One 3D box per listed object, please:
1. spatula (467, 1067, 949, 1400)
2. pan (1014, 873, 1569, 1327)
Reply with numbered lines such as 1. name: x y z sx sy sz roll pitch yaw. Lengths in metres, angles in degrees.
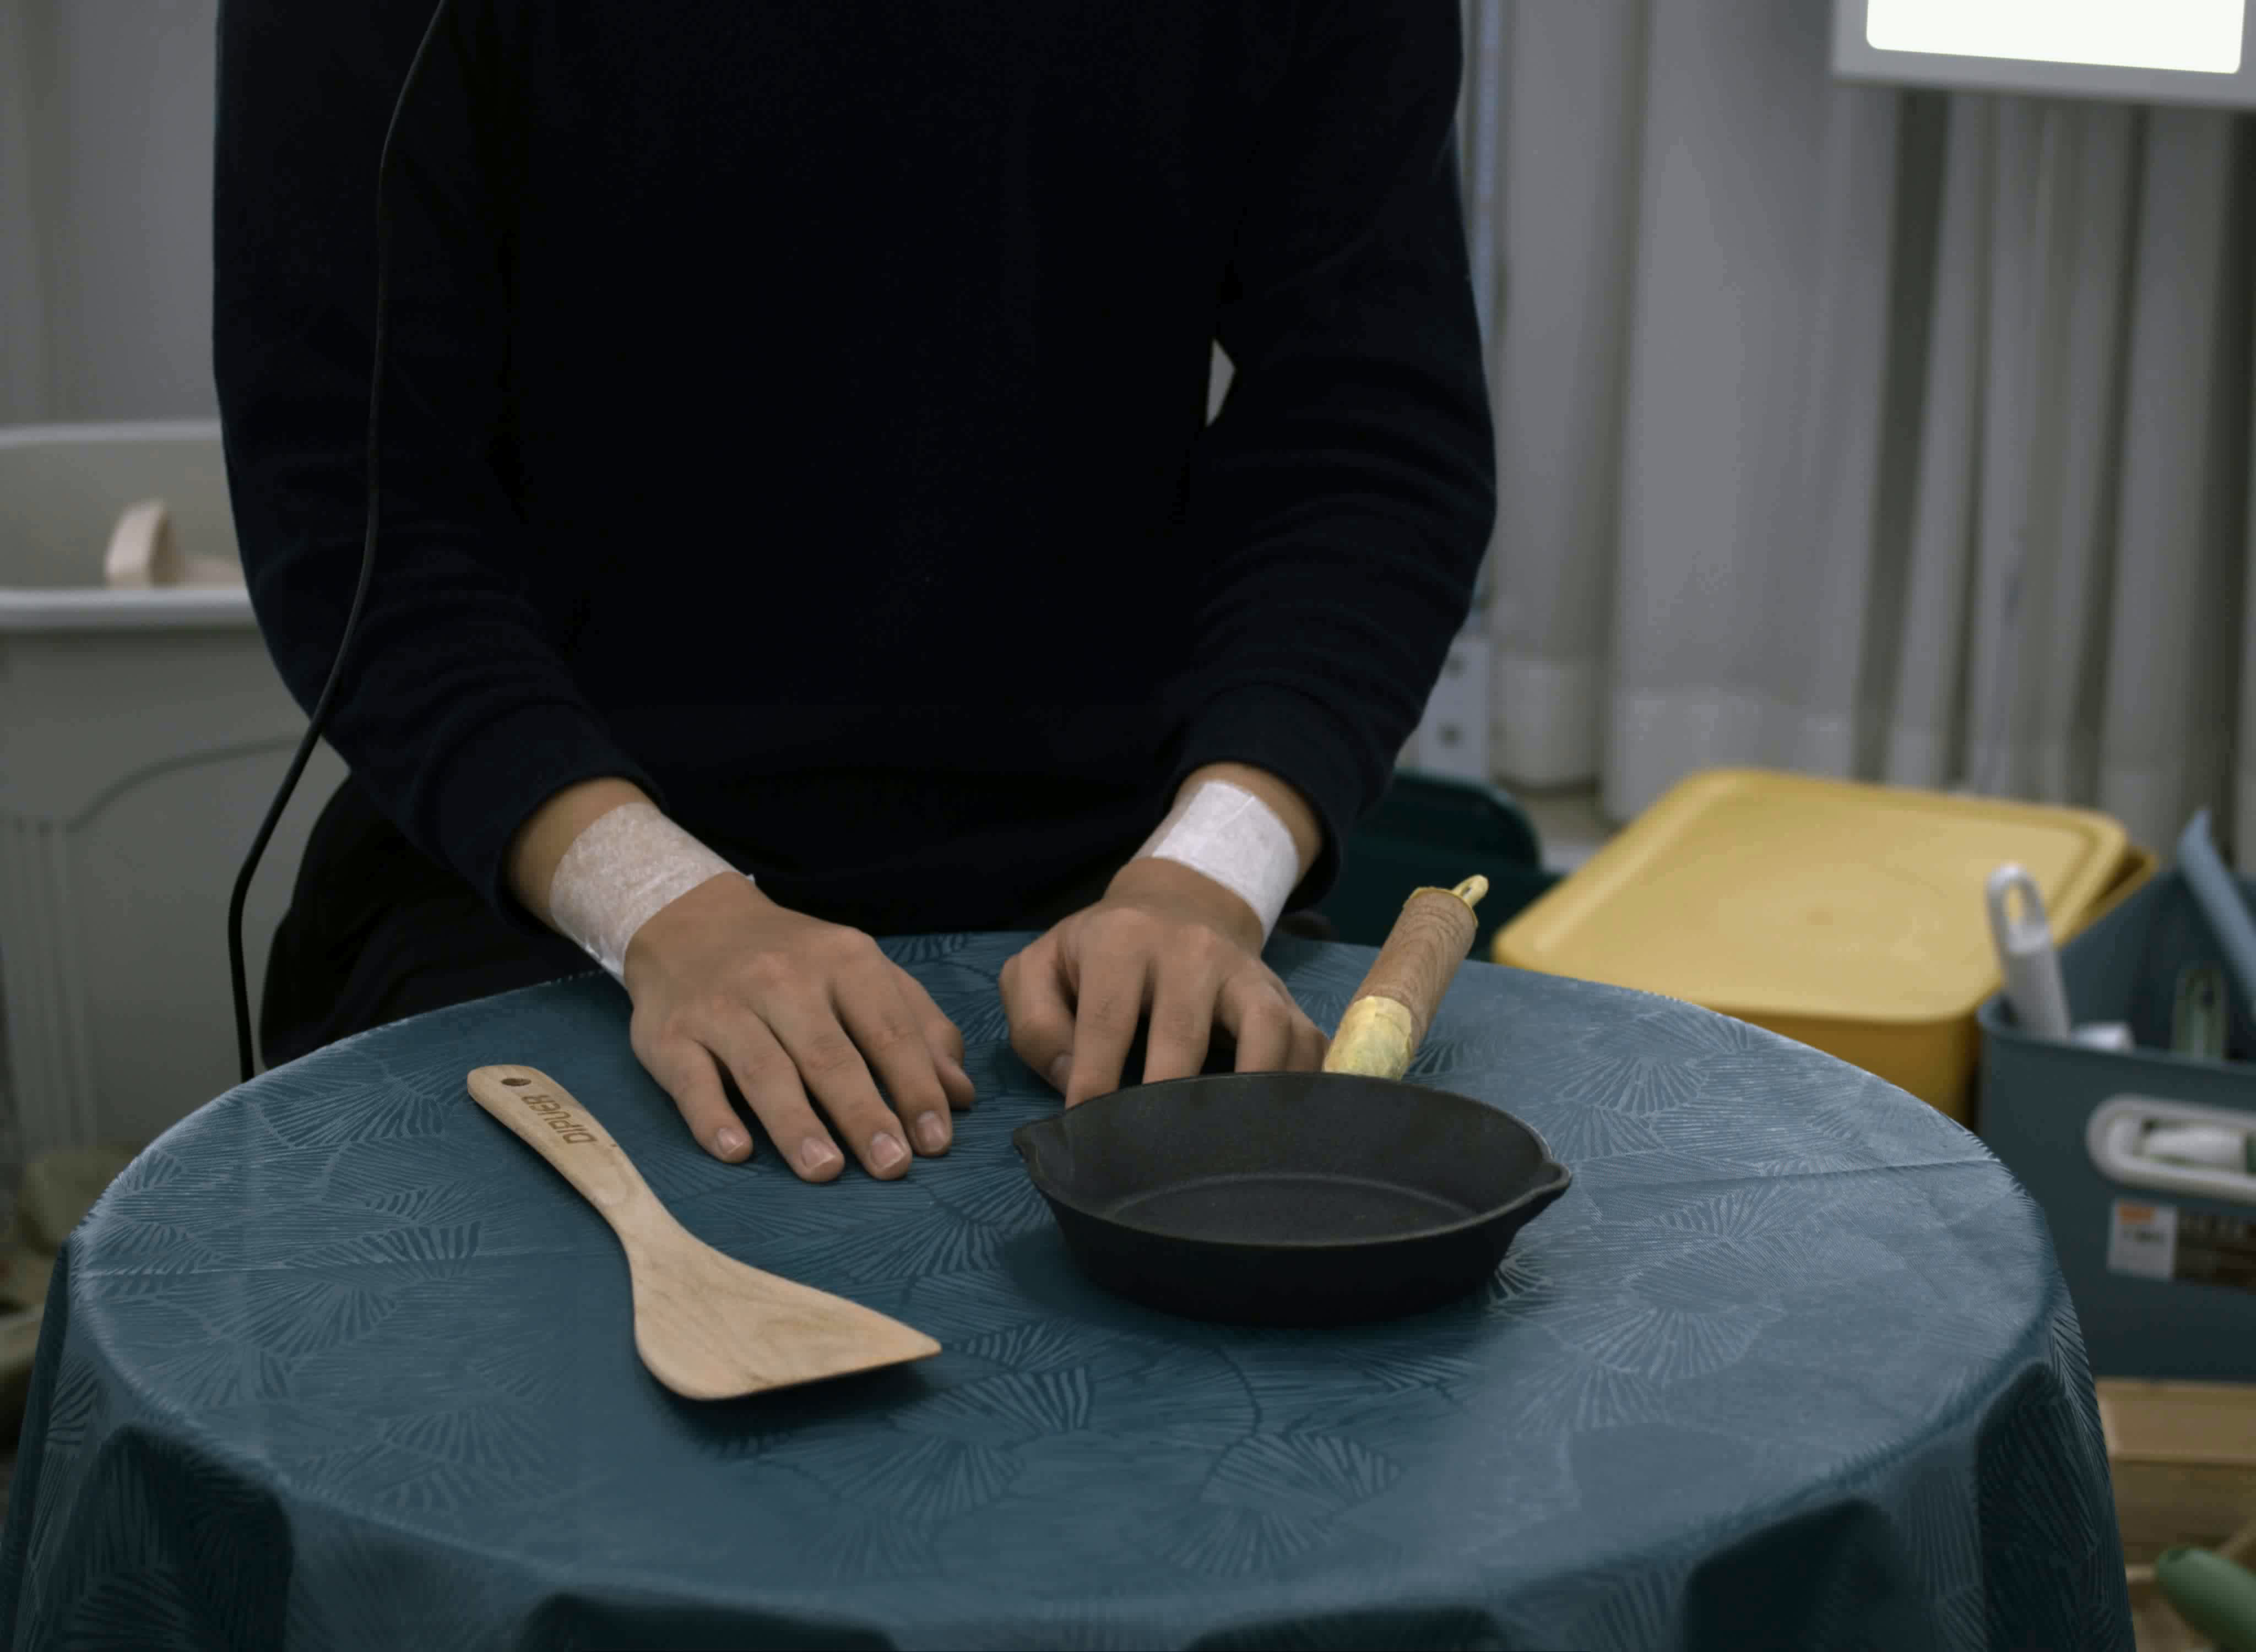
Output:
1. spatula: -0.141 0.117 1.572 0.080 0.016 0.324 -5 16 -23
2. pan: 0.071 0.082 1.640 0.167 0.050 0.324 5 18 16
